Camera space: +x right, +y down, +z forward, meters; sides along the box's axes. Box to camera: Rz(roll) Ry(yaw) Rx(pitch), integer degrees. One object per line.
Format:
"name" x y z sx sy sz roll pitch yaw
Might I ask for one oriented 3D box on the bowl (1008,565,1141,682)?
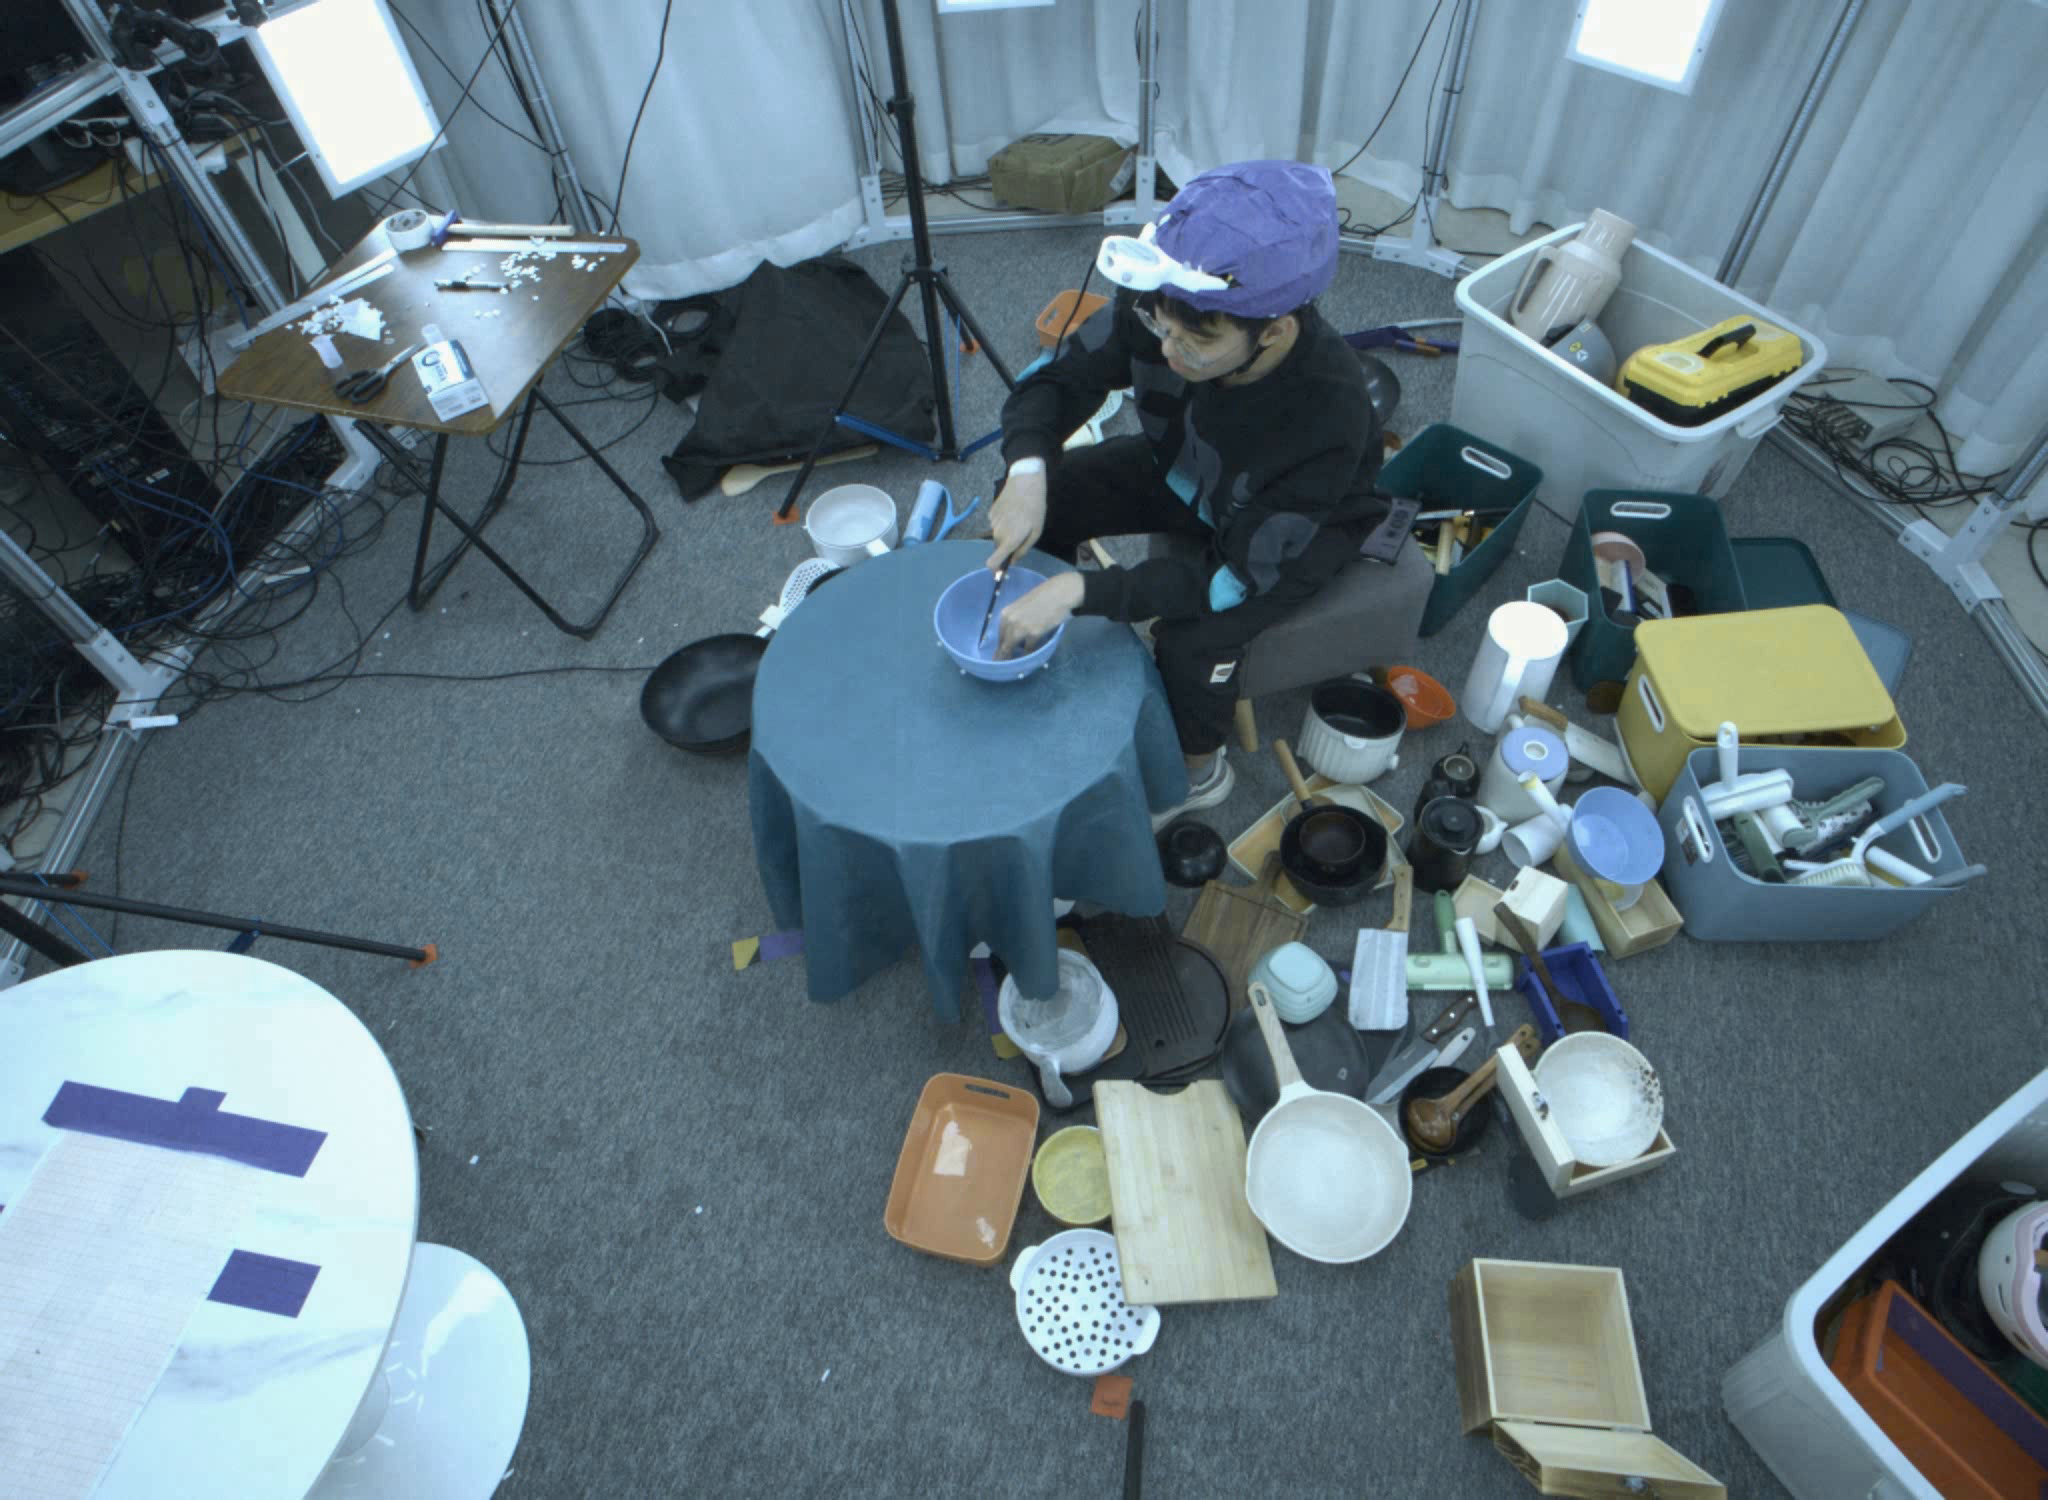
"bowl" 0.078 -0.175 1.846 0.196 0.096 0.194 -2 57 4

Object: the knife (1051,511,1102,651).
"knife" 0.075 -0.252 1.846 0.017 0.226 0.026 23 21 11
